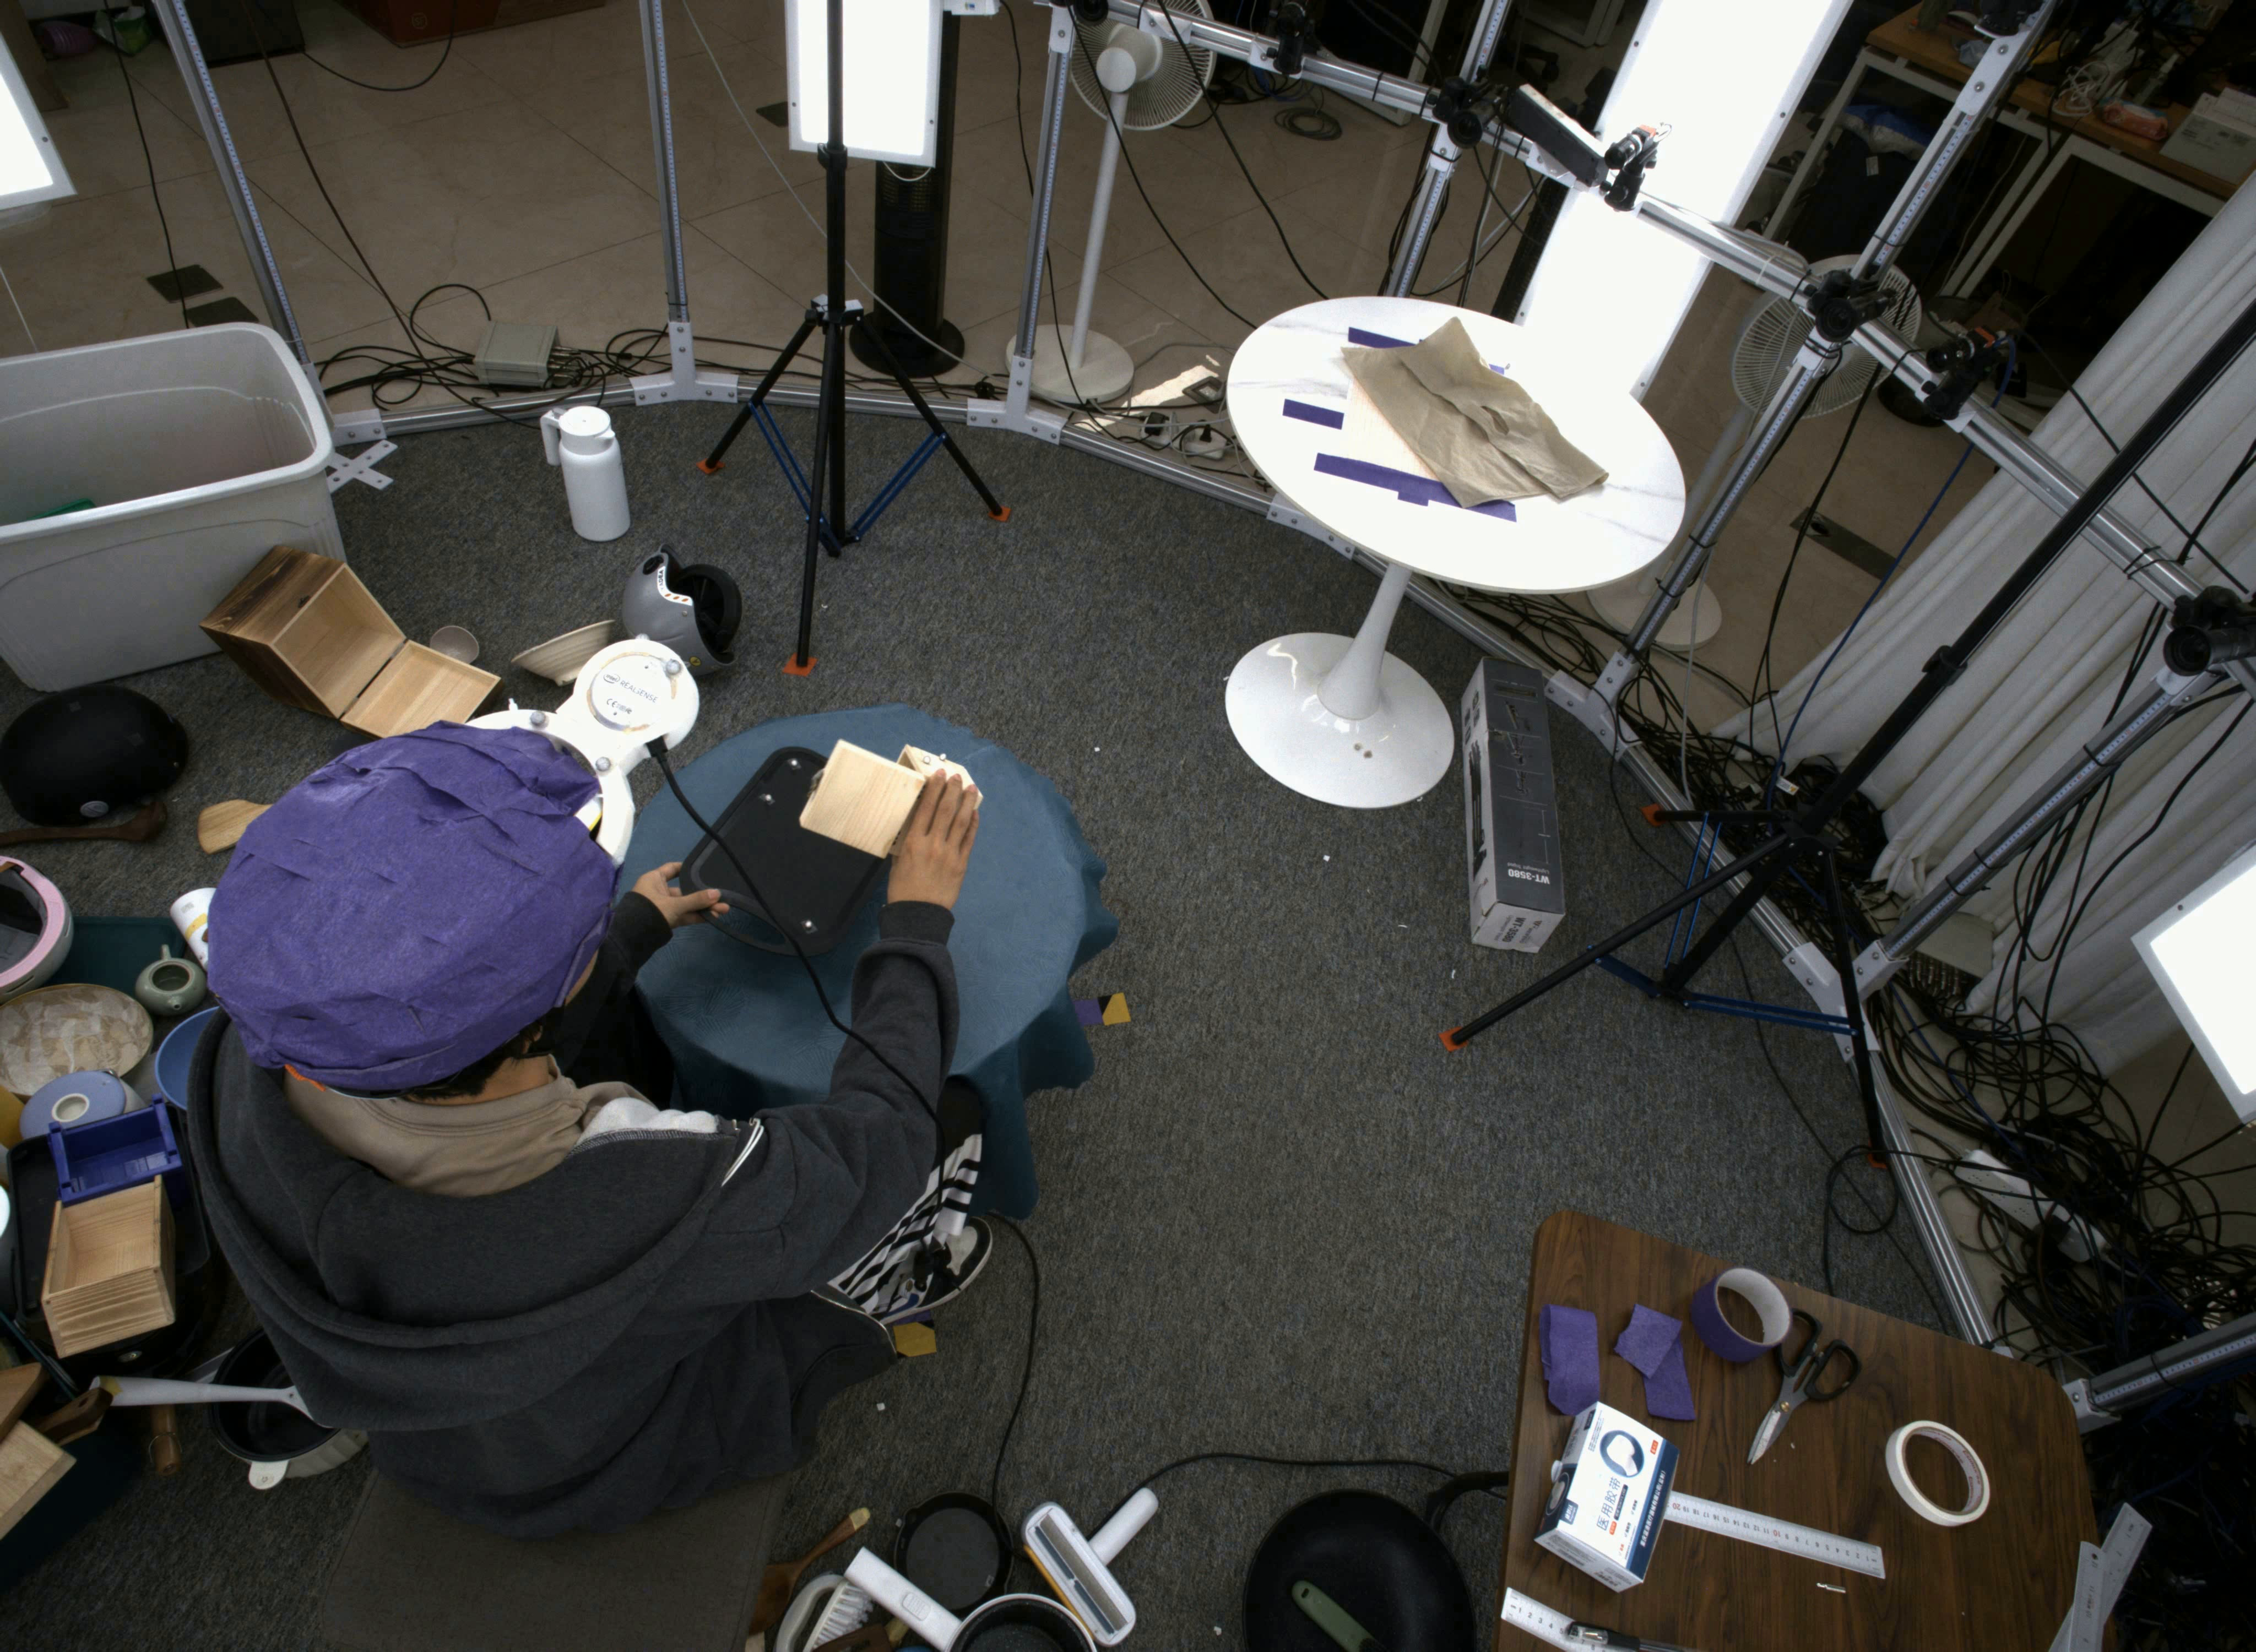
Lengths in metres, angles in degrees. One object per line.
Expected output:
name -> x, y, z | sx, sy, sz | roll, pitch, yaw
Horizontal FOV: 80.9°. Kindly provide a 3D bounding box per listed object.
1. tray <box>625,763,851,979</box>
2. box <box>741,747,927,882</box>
tray -> -0.463, 0.049, 1.570 | 0.211, 0.010, 0.321 | 27, 42, -6
box -> -0.333, -0.026, 1.440 | 0.189, 0.103, 0.129 | 22, 12, -34
